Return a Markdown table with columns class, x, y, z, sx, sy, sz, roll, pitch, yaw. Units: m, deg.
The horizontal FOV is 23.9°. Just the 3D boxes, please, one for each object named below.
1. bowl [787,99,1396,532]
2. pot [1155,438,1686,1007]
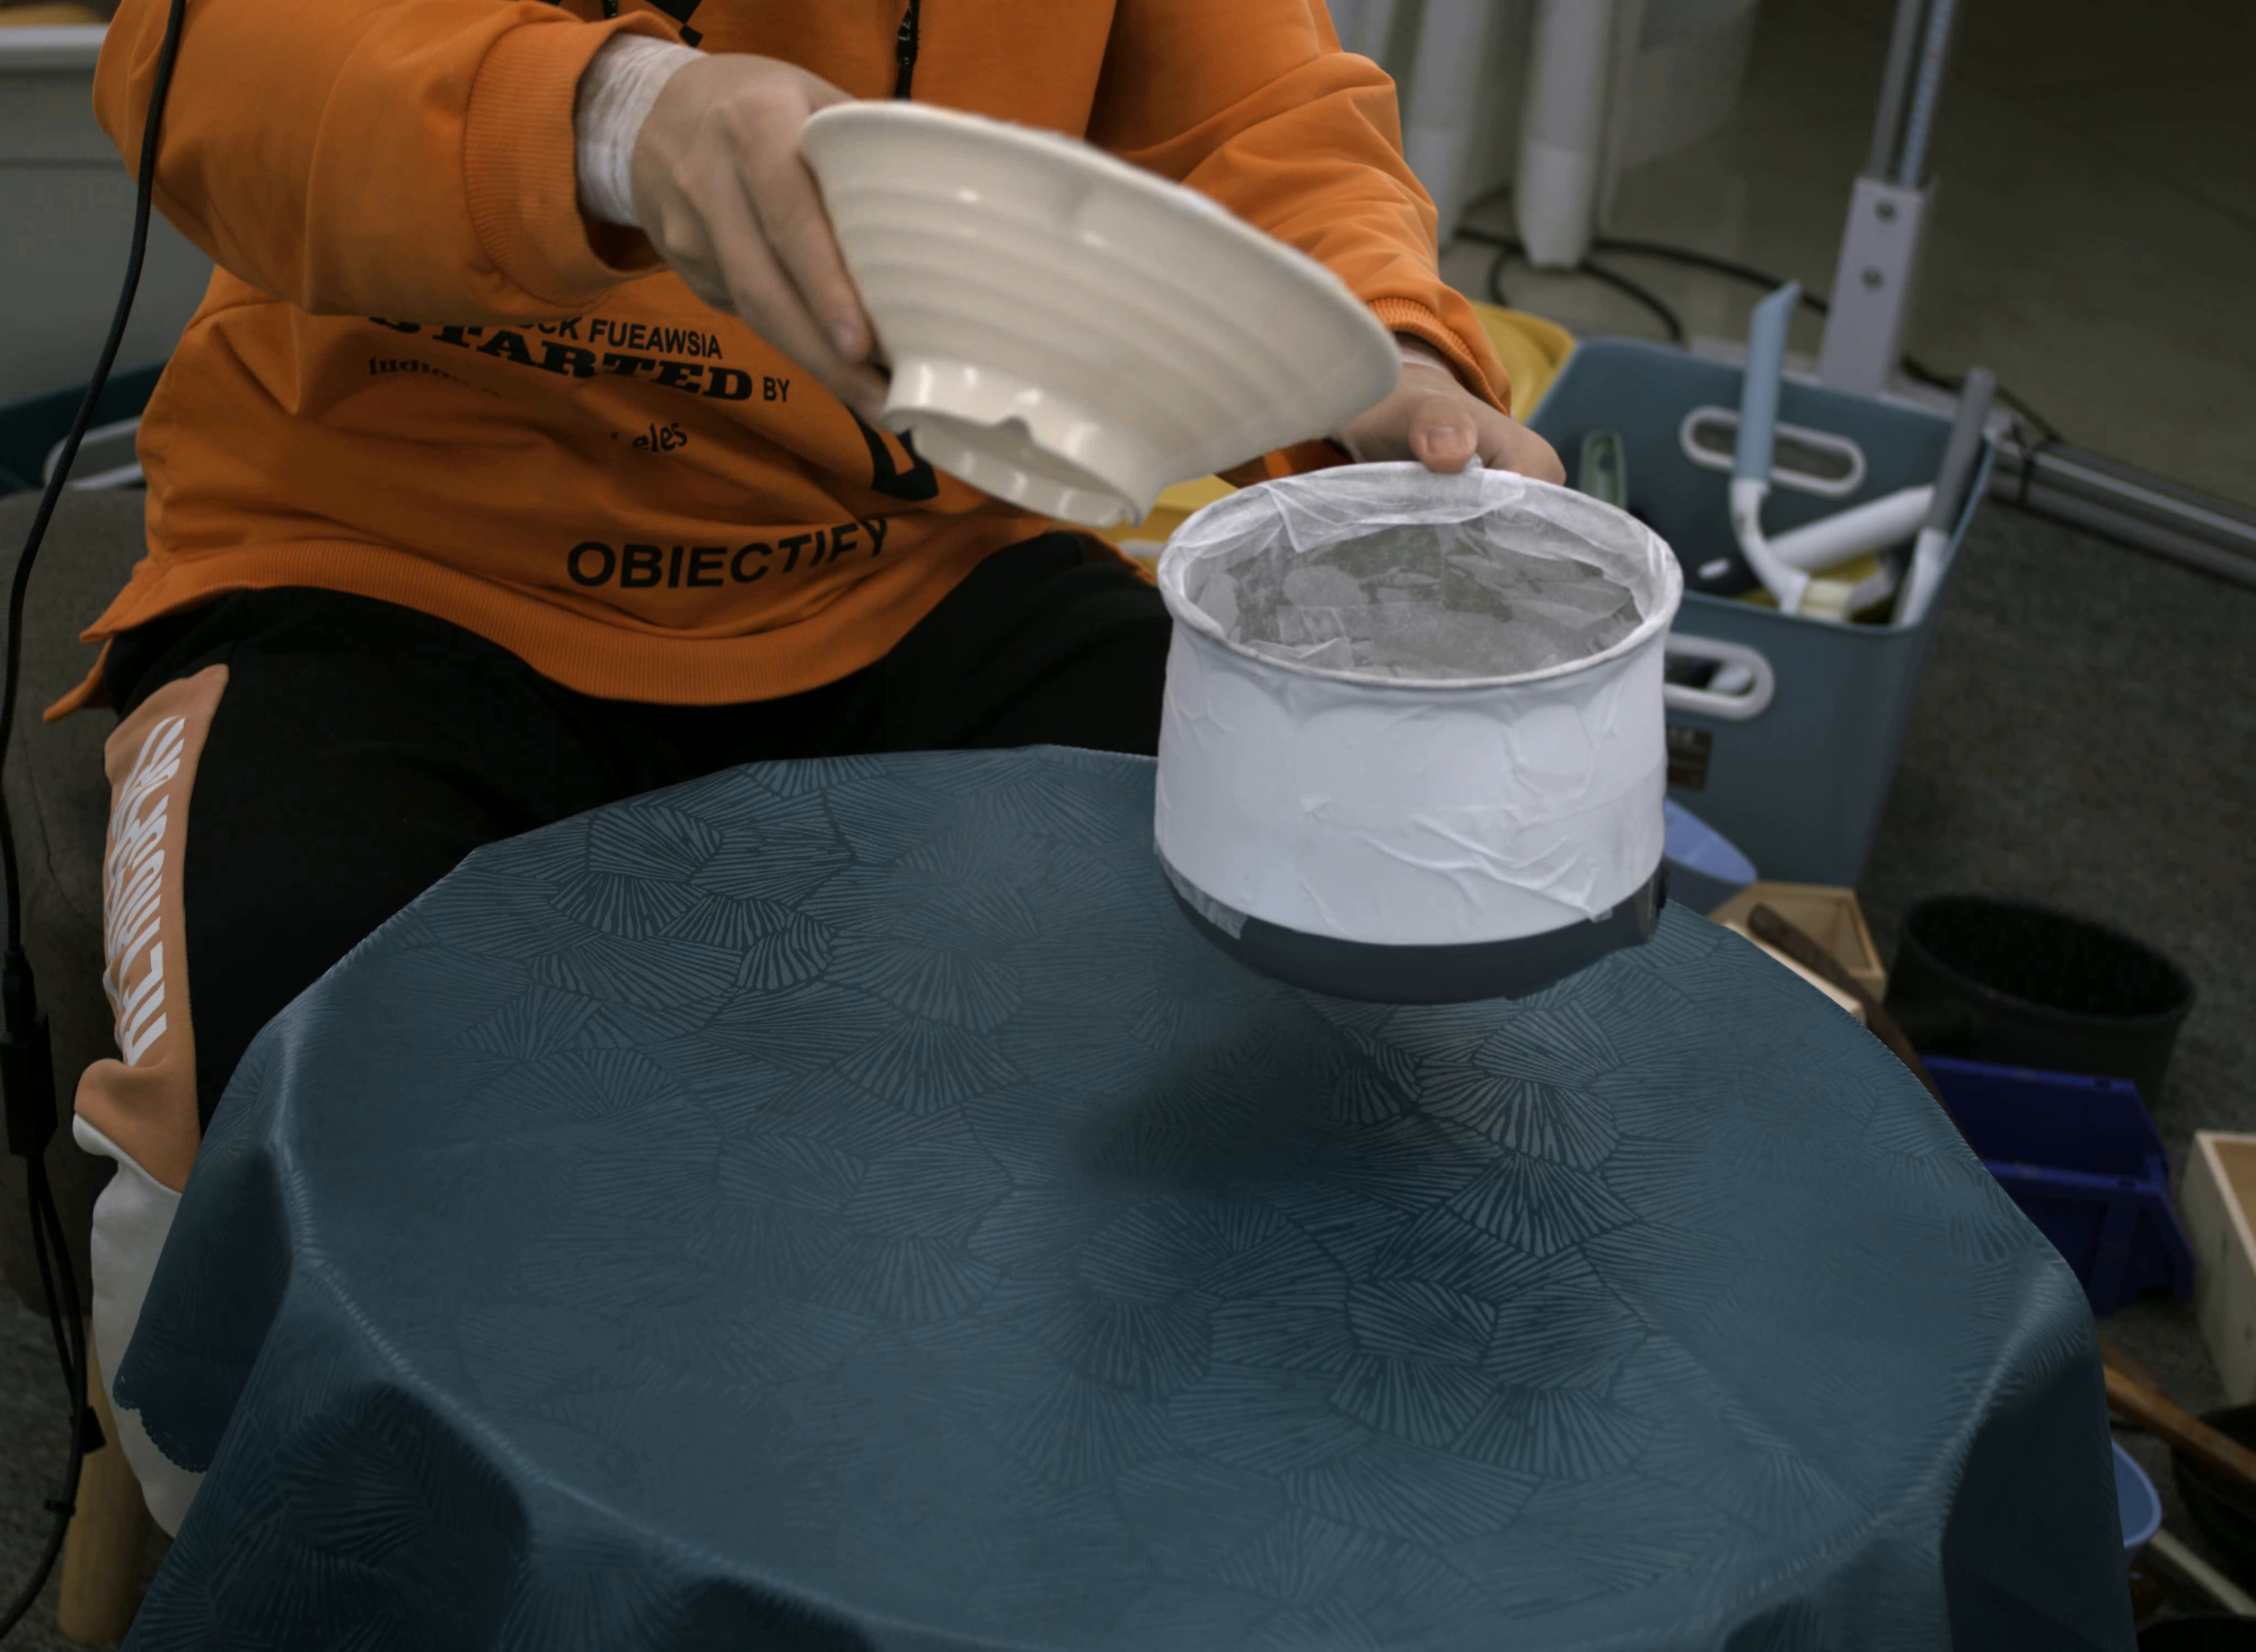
| class | x | y | z | sx | sy | sz | roll | pitch | yaw |
| --- | --- | --- | --- | --- | --- | --- | --- | --- | --- |
| bowl | -0.024 | -0.144 | 1.654 | 0.204 | 0.078 | 0.203 | 20 | -12 | 4 |
| pot | 0.101 | -0.043 | 1.838 | 0.178 | 0.136 | 0.235 | 4 | 28 | 7 |
